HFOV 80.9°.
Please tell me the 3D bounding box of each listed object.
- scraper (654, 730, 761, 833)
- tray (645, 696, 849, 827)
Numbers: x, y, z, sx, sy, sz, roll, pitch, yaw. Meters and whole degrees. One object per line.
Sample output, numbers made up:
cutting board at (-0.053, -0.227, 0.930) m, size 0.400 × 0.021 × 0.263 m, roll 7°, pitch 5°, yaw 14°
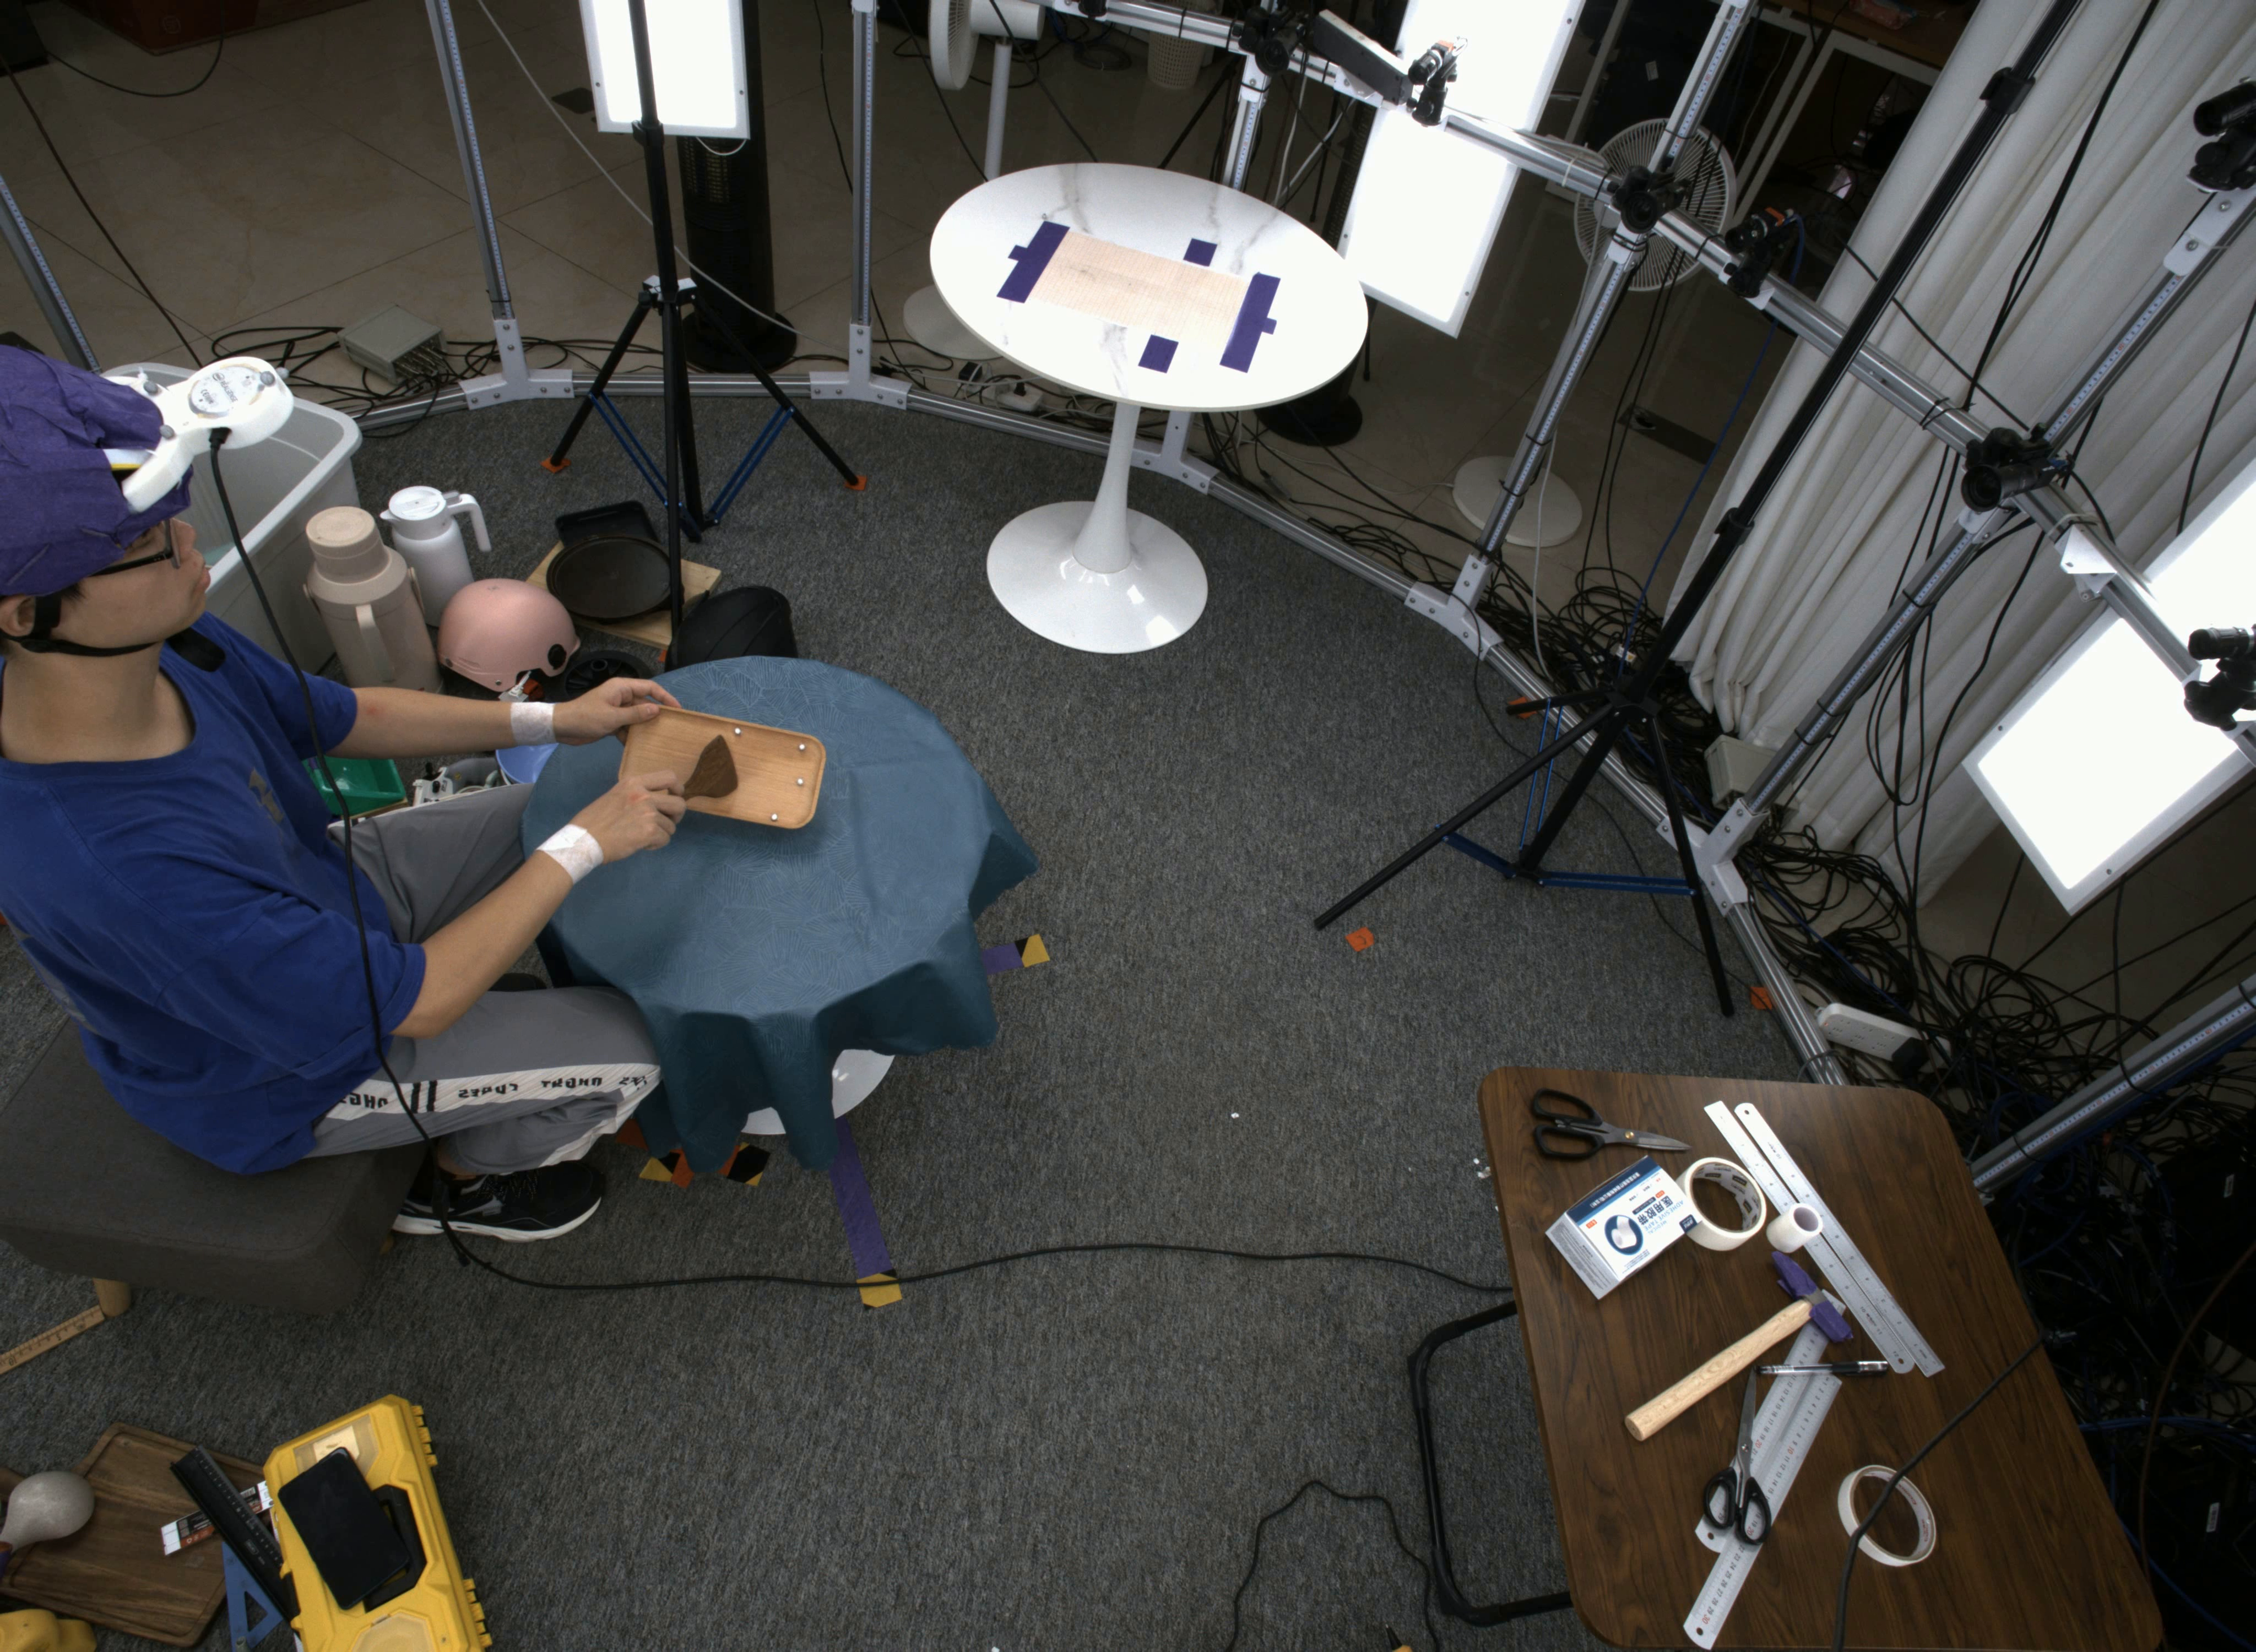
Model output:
scraper at (-0.514, -0.048, 1.581) m, size 0.010 × 0.078 × 0.210 m, roll 1°, pitch 26°, yaw 22°
tray at (-0.494, -0.083, 1.678) m, size 0.251 × 0.023 × 0.131 m, roll 13°, pitch 78°, yaw -11°
